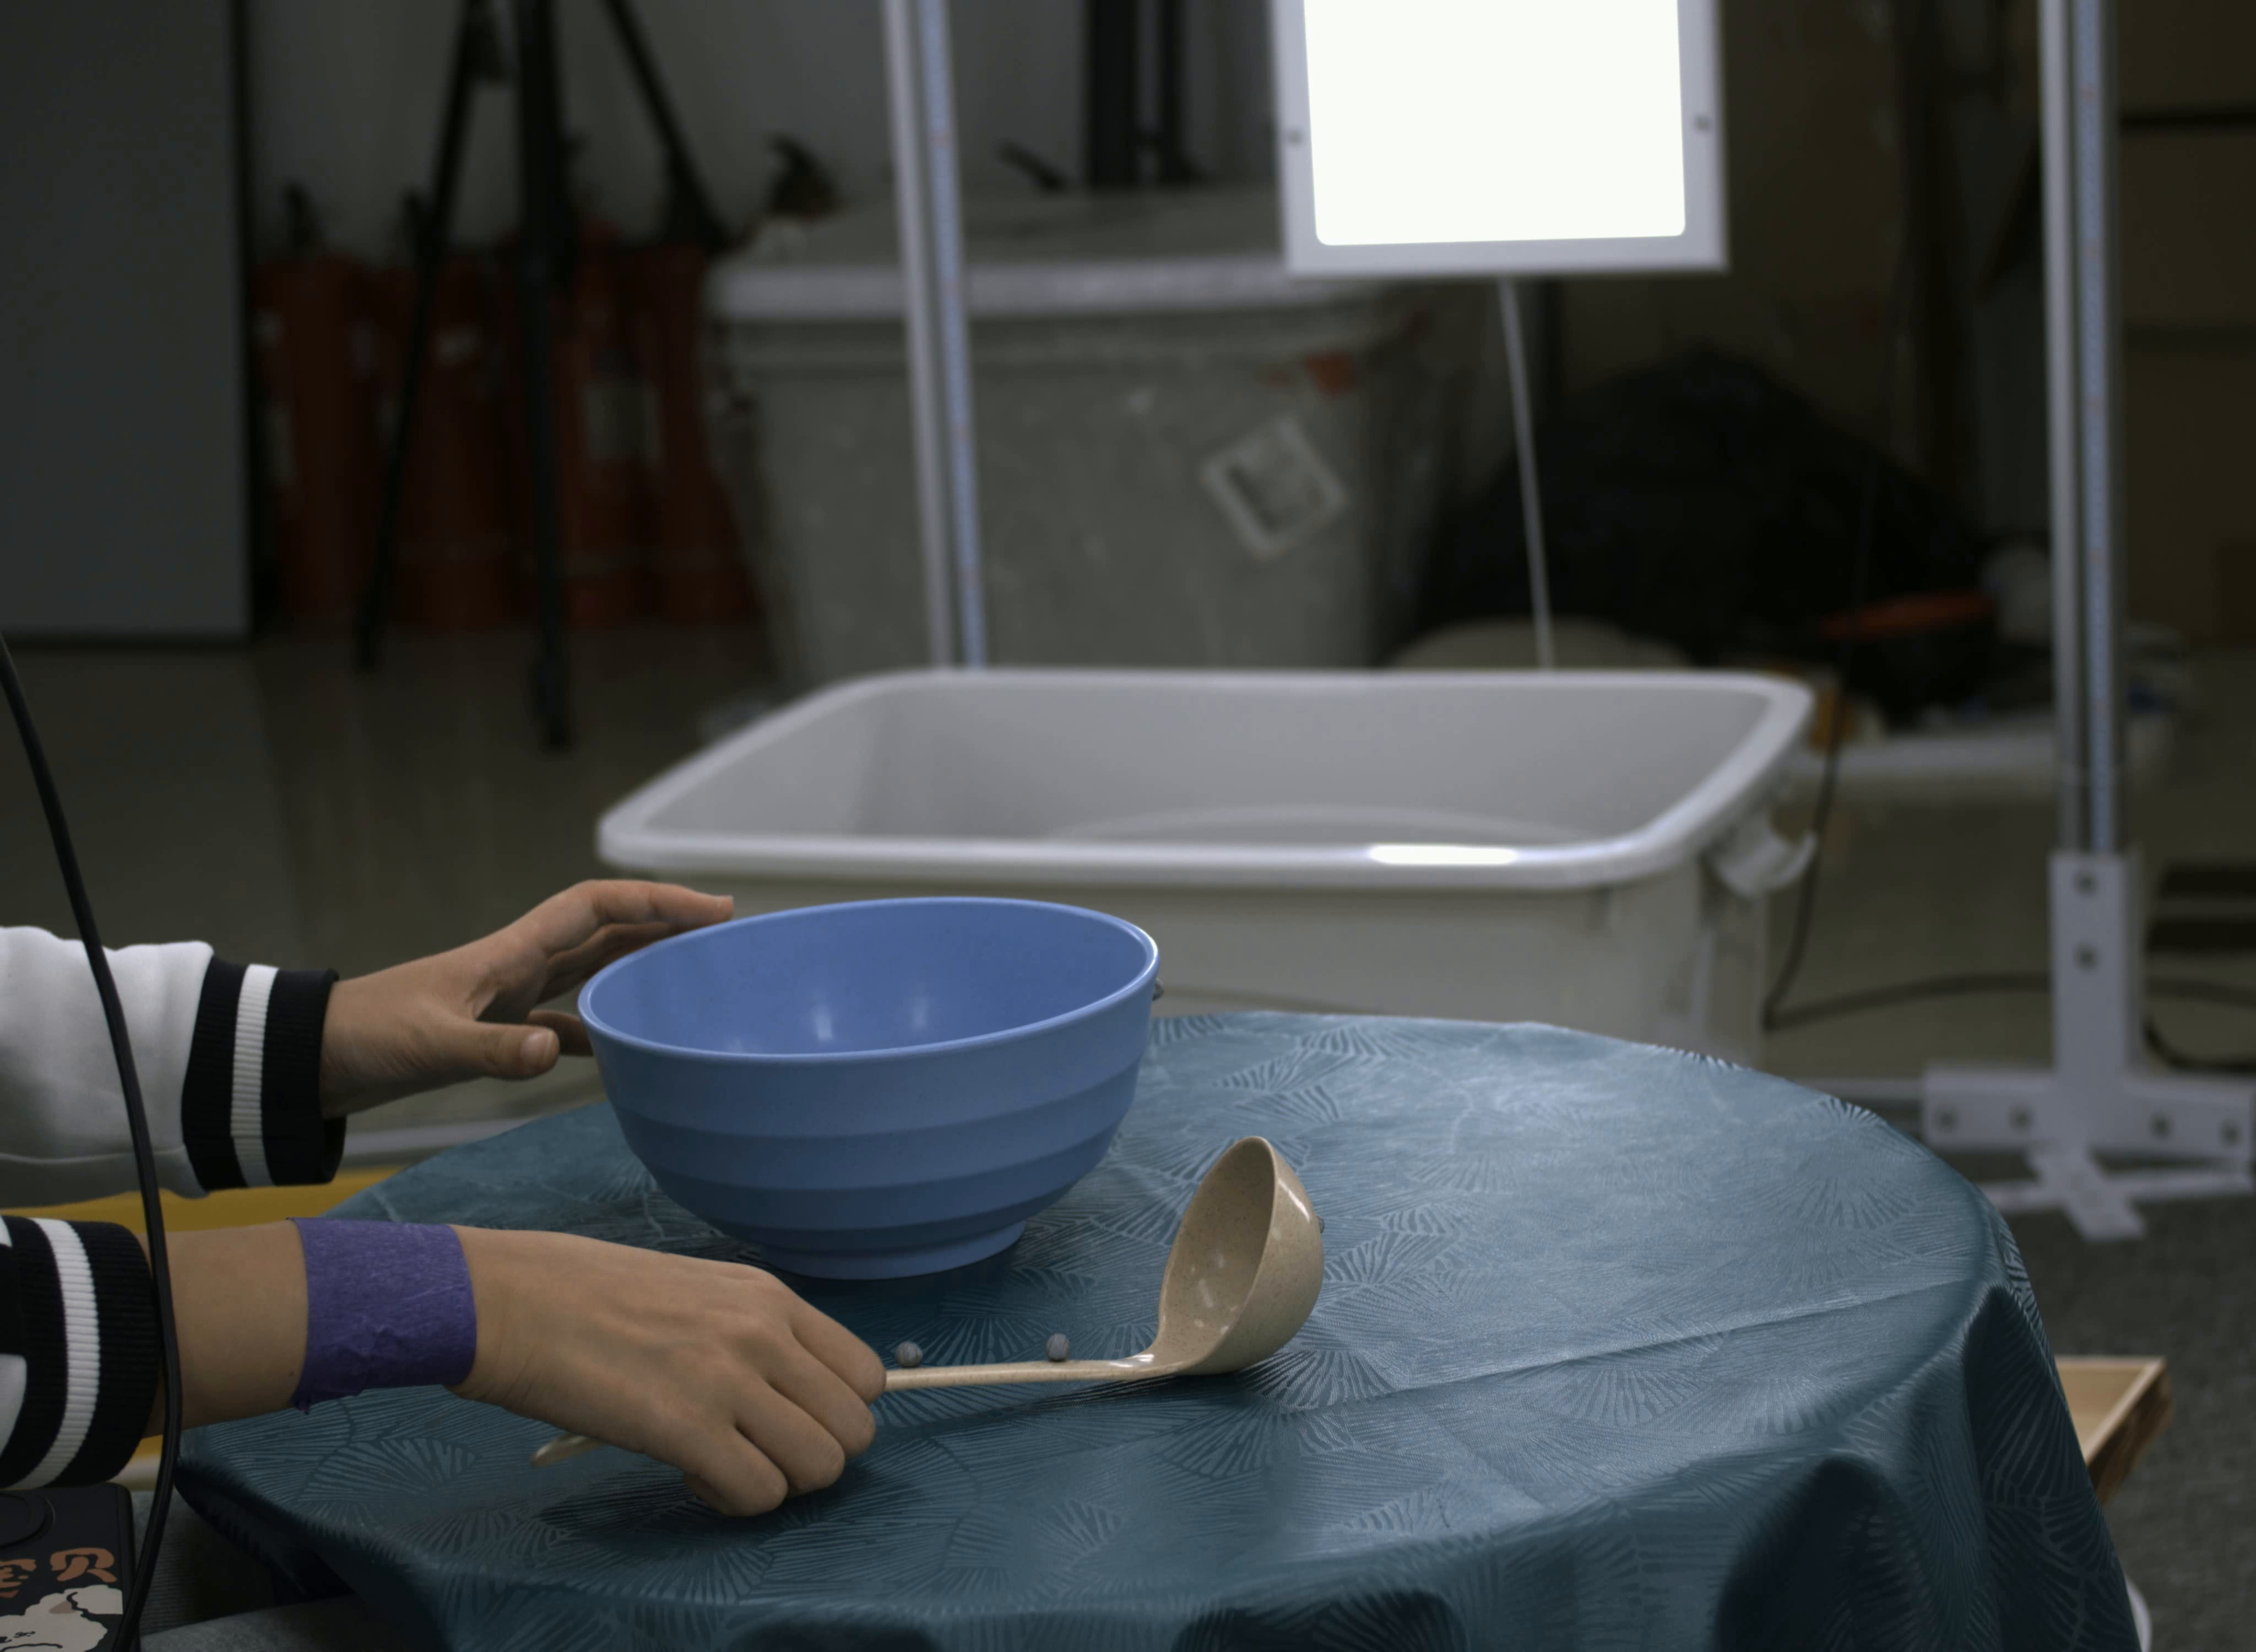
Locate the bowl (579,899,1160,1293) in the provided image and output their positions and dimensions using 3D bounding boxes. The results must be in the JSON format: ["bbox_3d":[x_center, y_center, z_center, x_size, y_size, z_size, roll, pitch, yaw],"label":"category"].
[{"bbox_3d":[-0.083,0.098,1.862,0.196,0.096,0.196,-5,15,0],"label":"bowl"}]

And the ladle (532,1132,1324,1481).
[{"bbox_3d":[-0.062,0.144,1.676,0.250,0.073,0.073,-7,7,-20],"label":"ladle"}]
